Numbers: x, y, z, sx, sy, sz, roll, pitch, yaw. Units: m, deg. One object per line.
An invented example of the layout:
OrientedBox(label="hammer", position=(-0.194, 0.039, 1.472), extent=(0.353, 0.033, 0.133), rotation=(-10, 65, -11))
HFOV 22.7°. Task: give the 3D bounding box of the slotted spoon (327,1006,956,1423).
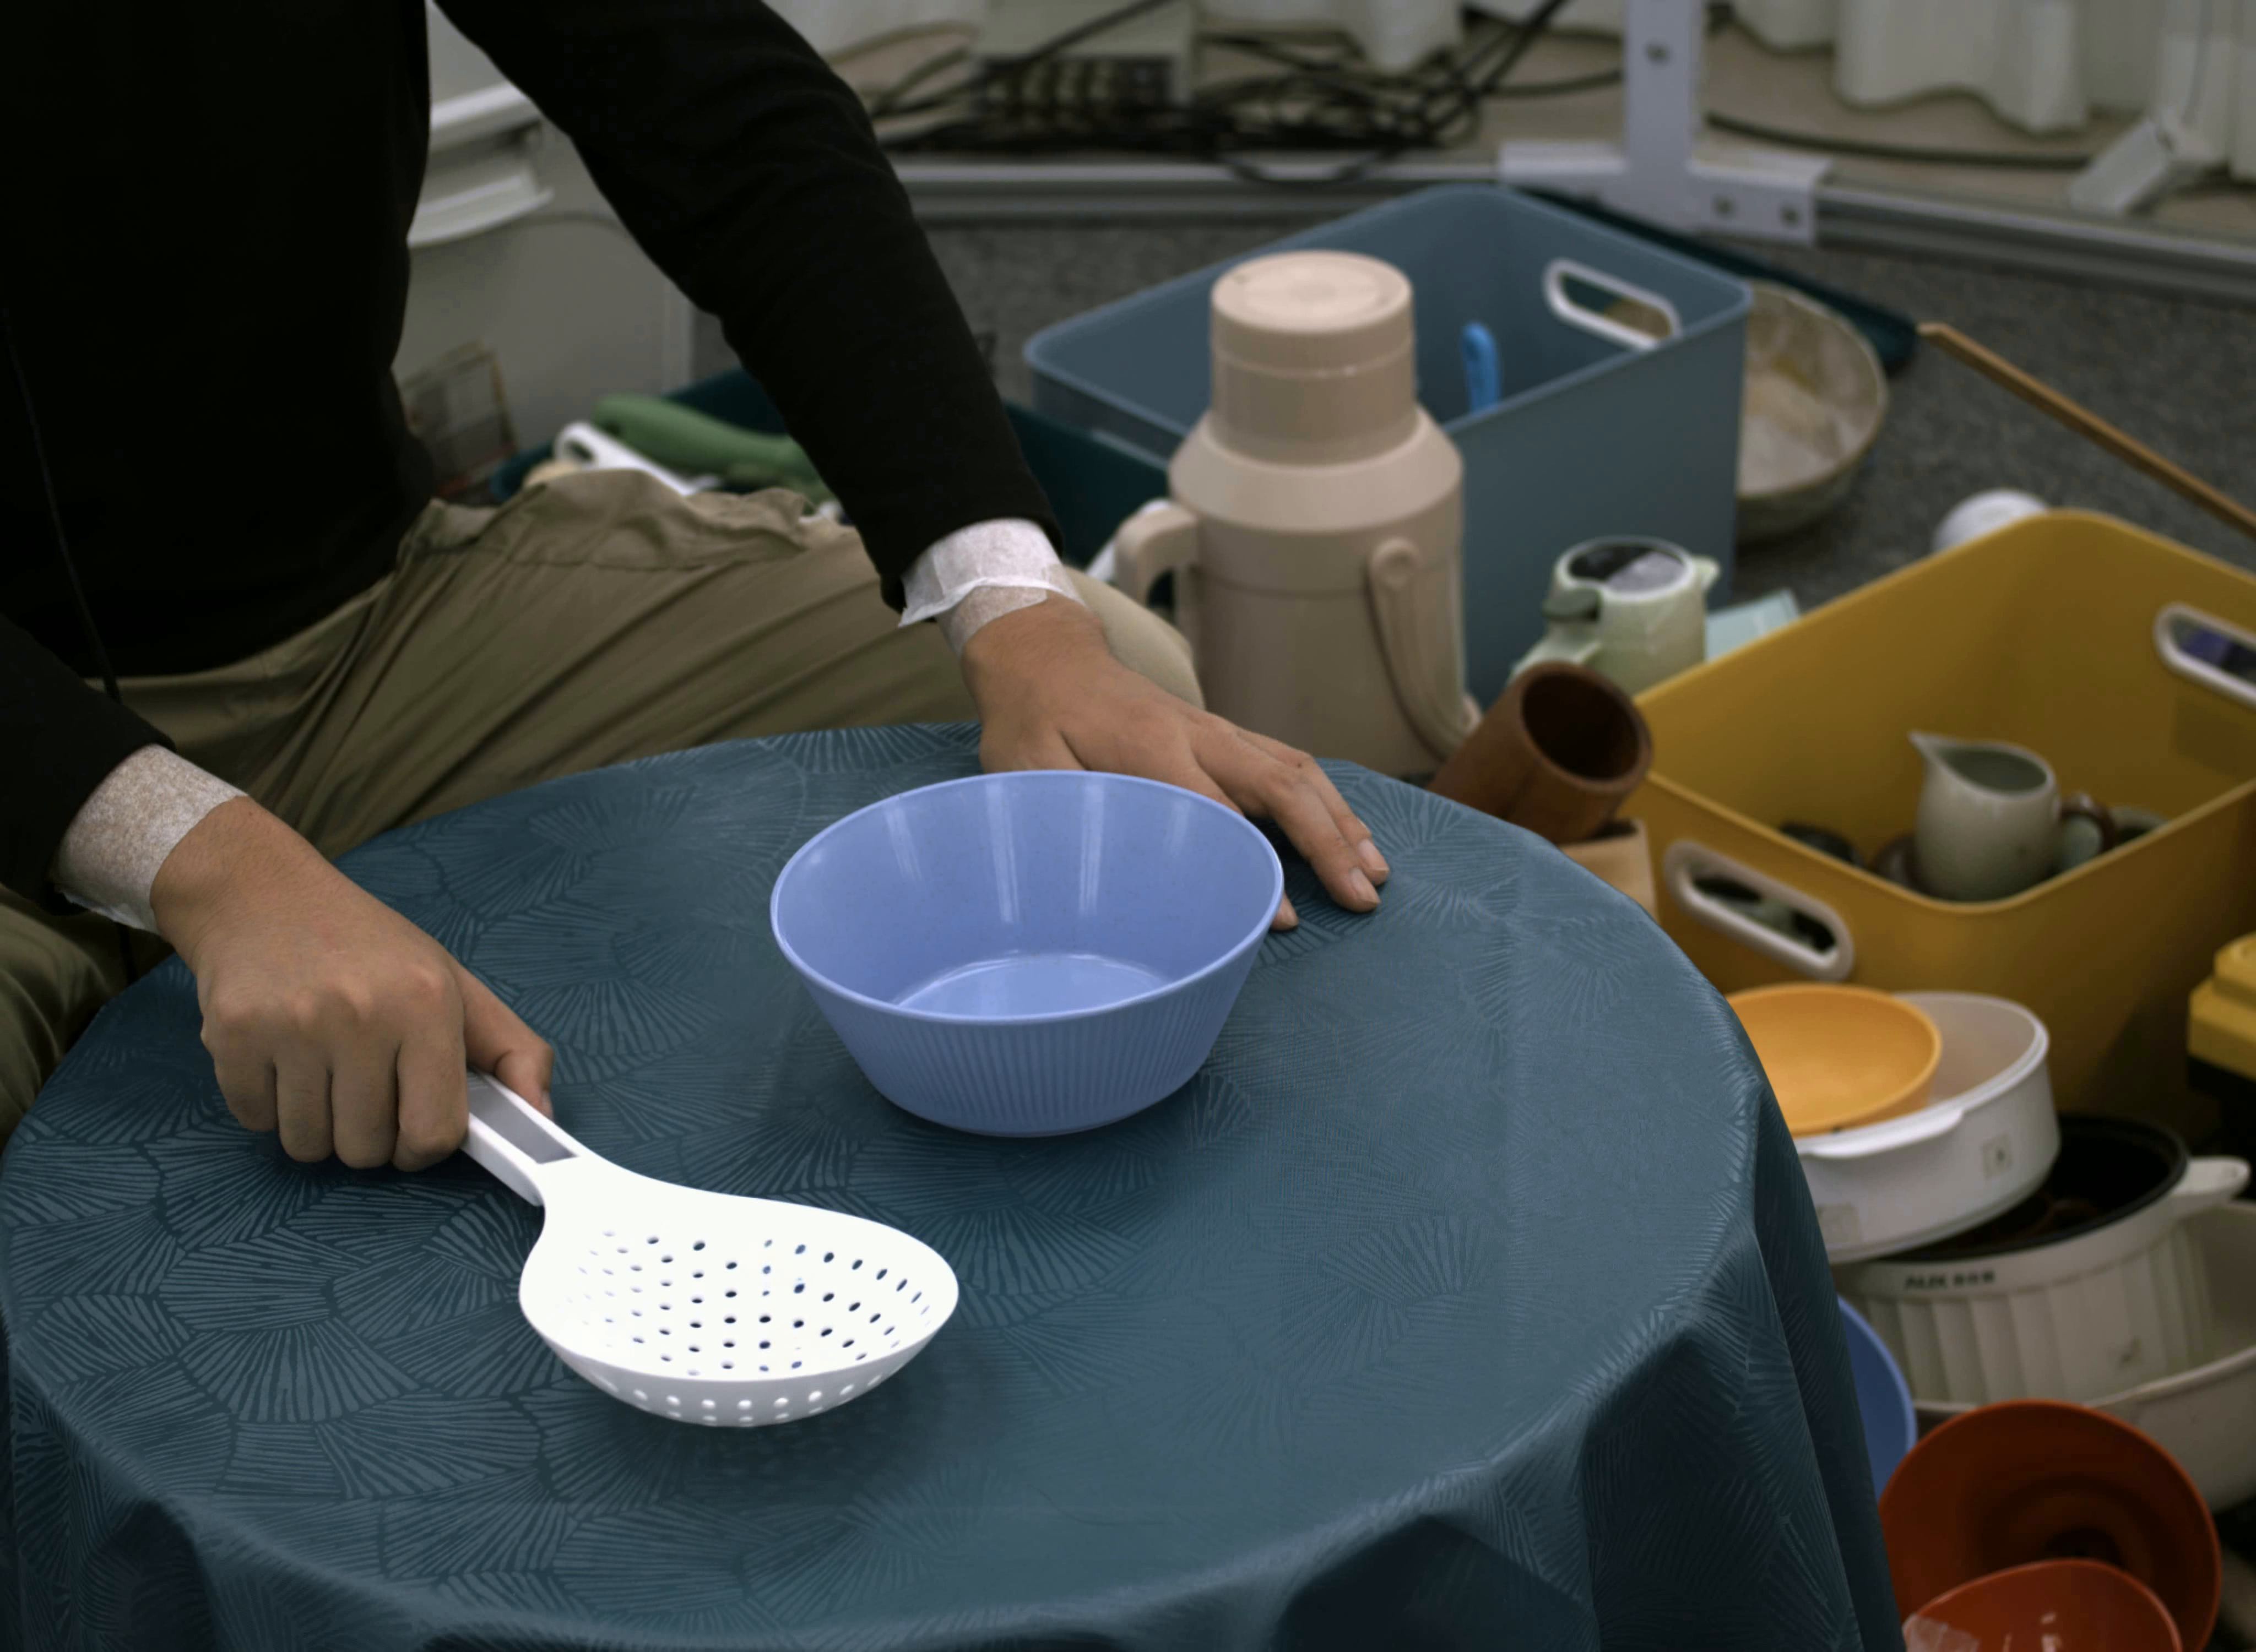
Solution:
OrientedBox(label="slotted spoon", position=(-0.179, 0.120, 1.832), extent=(0.137, 0.045, 0.351), rotation=(-10, 26, -31))

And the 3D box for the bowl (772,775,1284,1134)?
OrientedBox(label="bowl", position=(-0.033, 0.049, 1.928), extent=(0.175, 0.069, 0.178), rotation=(-2, 26, 1))
